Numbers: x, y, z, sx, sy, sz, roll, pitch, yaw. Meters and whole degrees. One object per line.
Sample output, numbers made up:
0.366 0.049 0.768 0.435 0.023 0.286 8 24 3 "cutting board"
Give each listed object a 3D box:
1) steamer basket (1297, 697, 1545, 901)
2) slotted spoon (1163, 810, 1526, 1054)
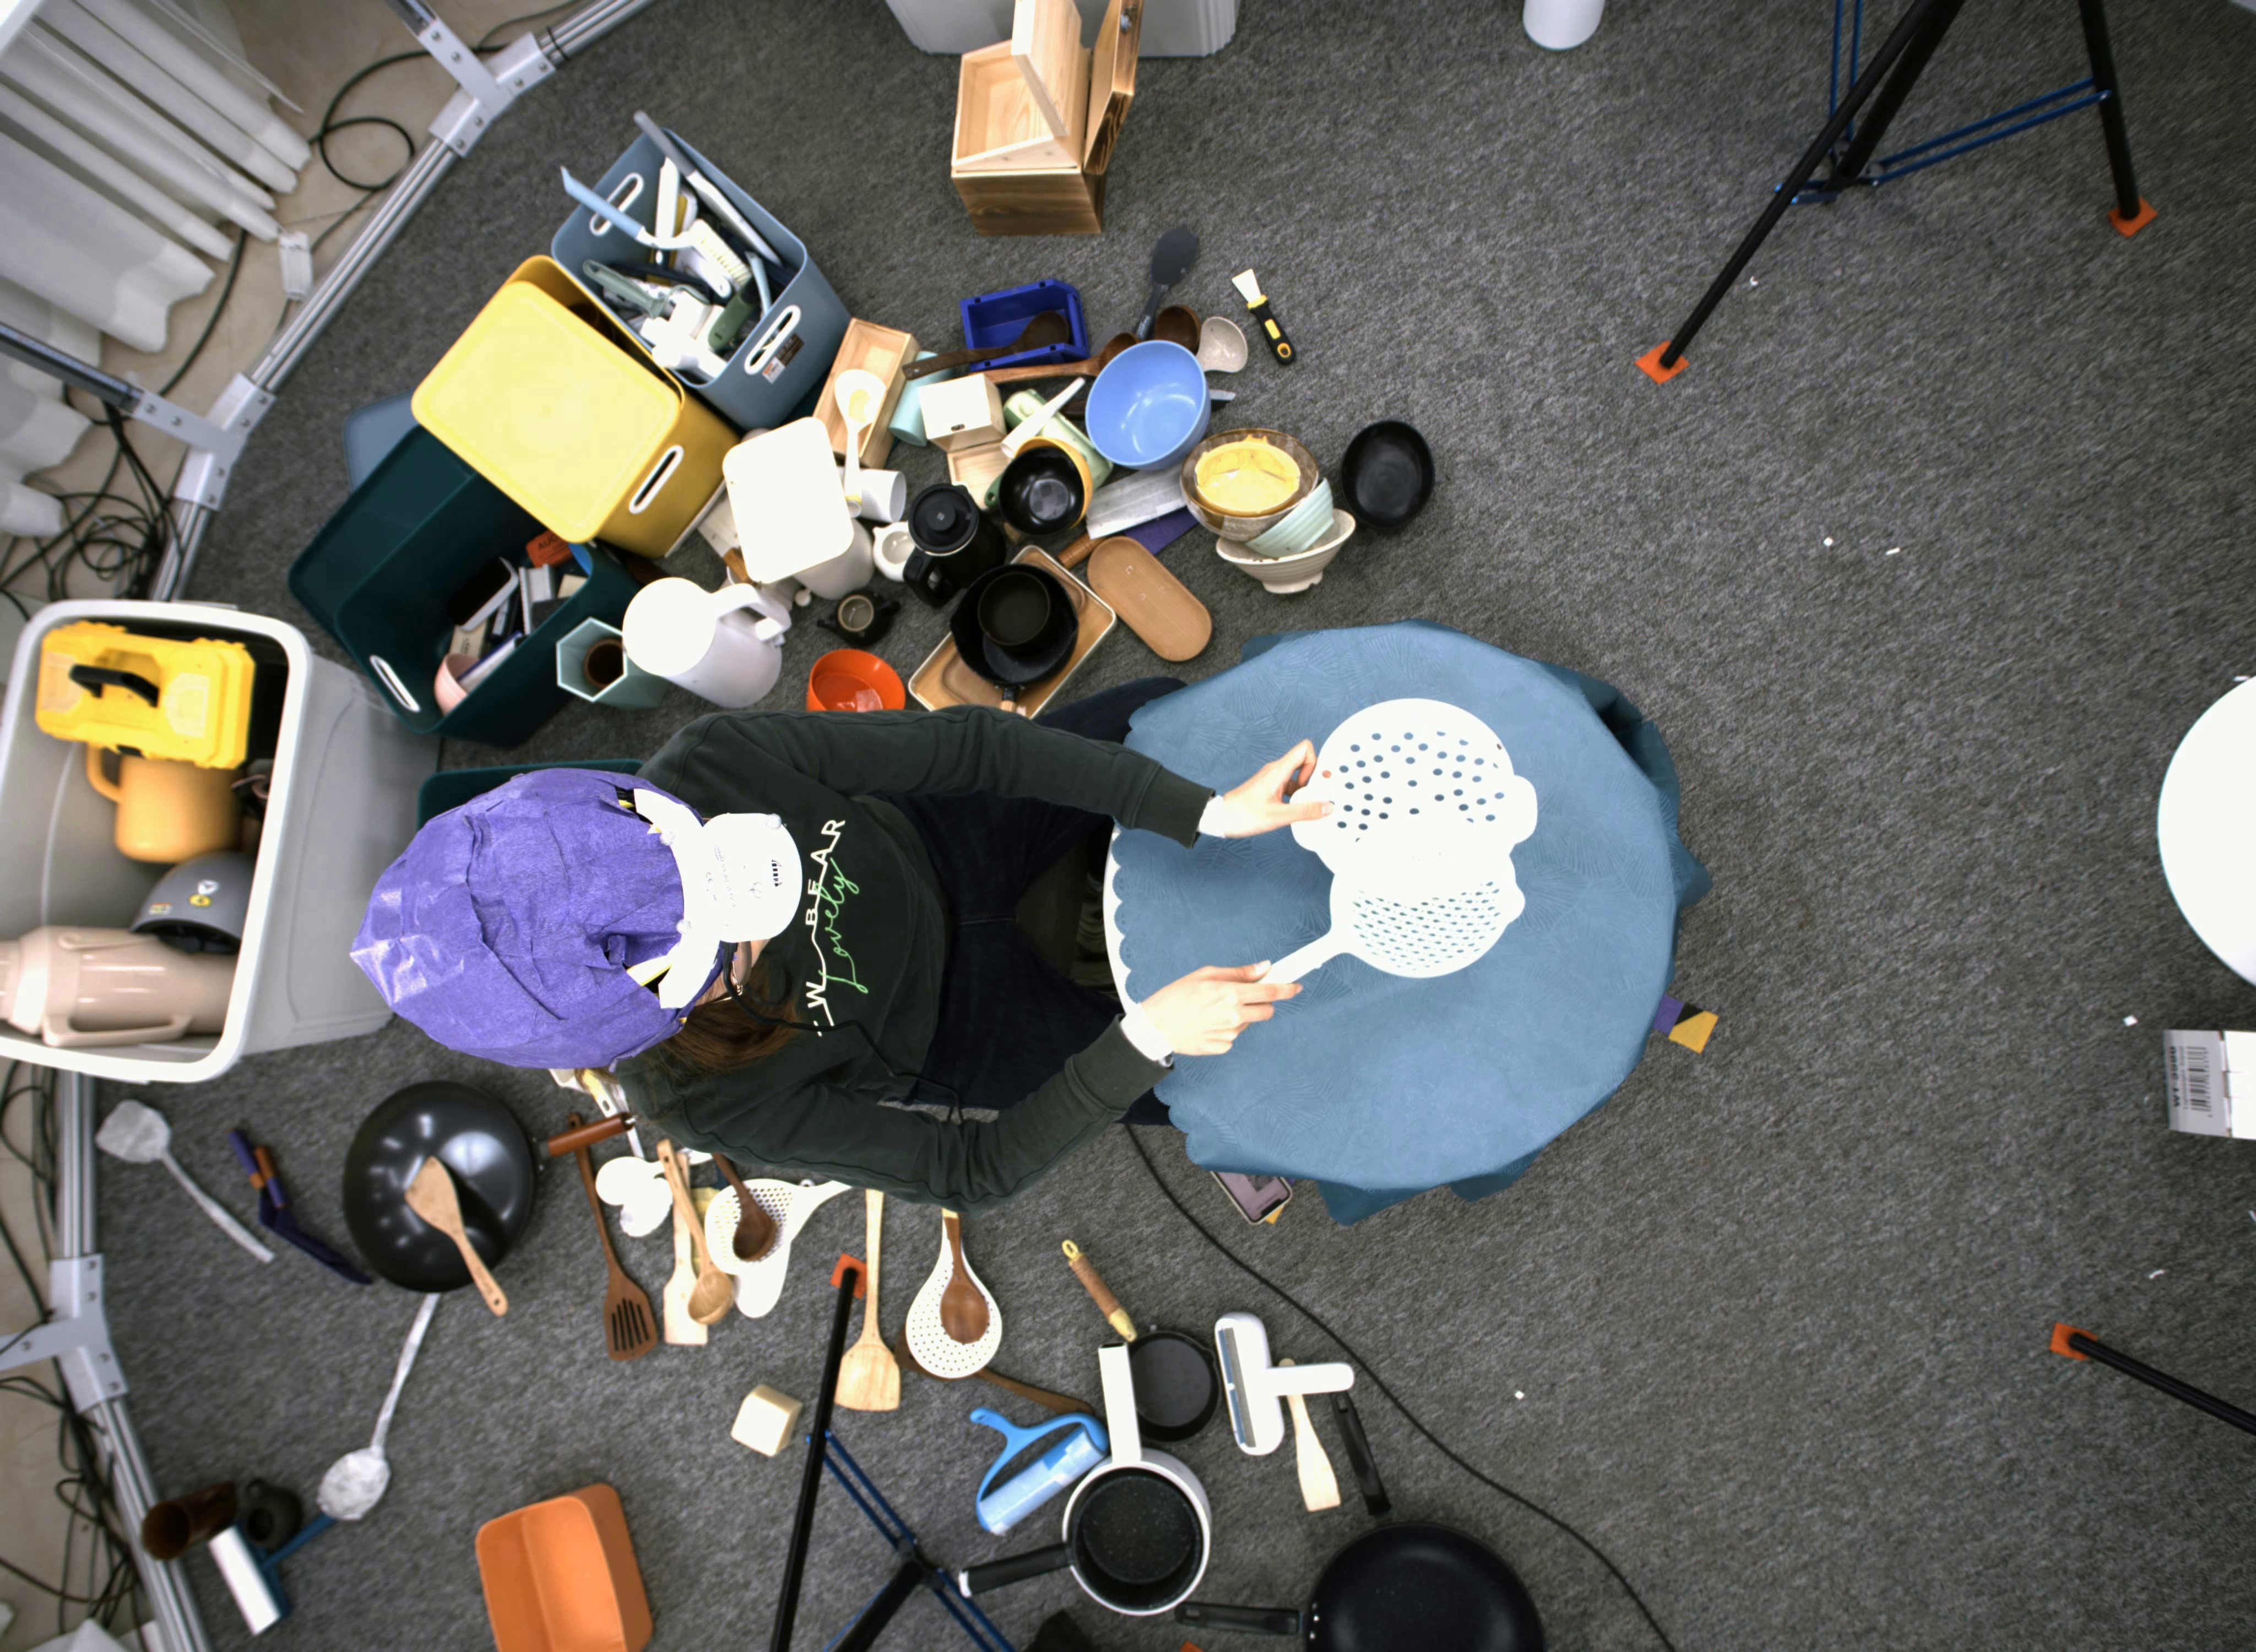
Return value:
0.280 -0.028 1.323 0.232 0.067 0.206 -4 121 16 "steamer basket"
0.192 0.115 1.289 0.358 0.077 0.166 -24 52 -5 "slotted spoon"
